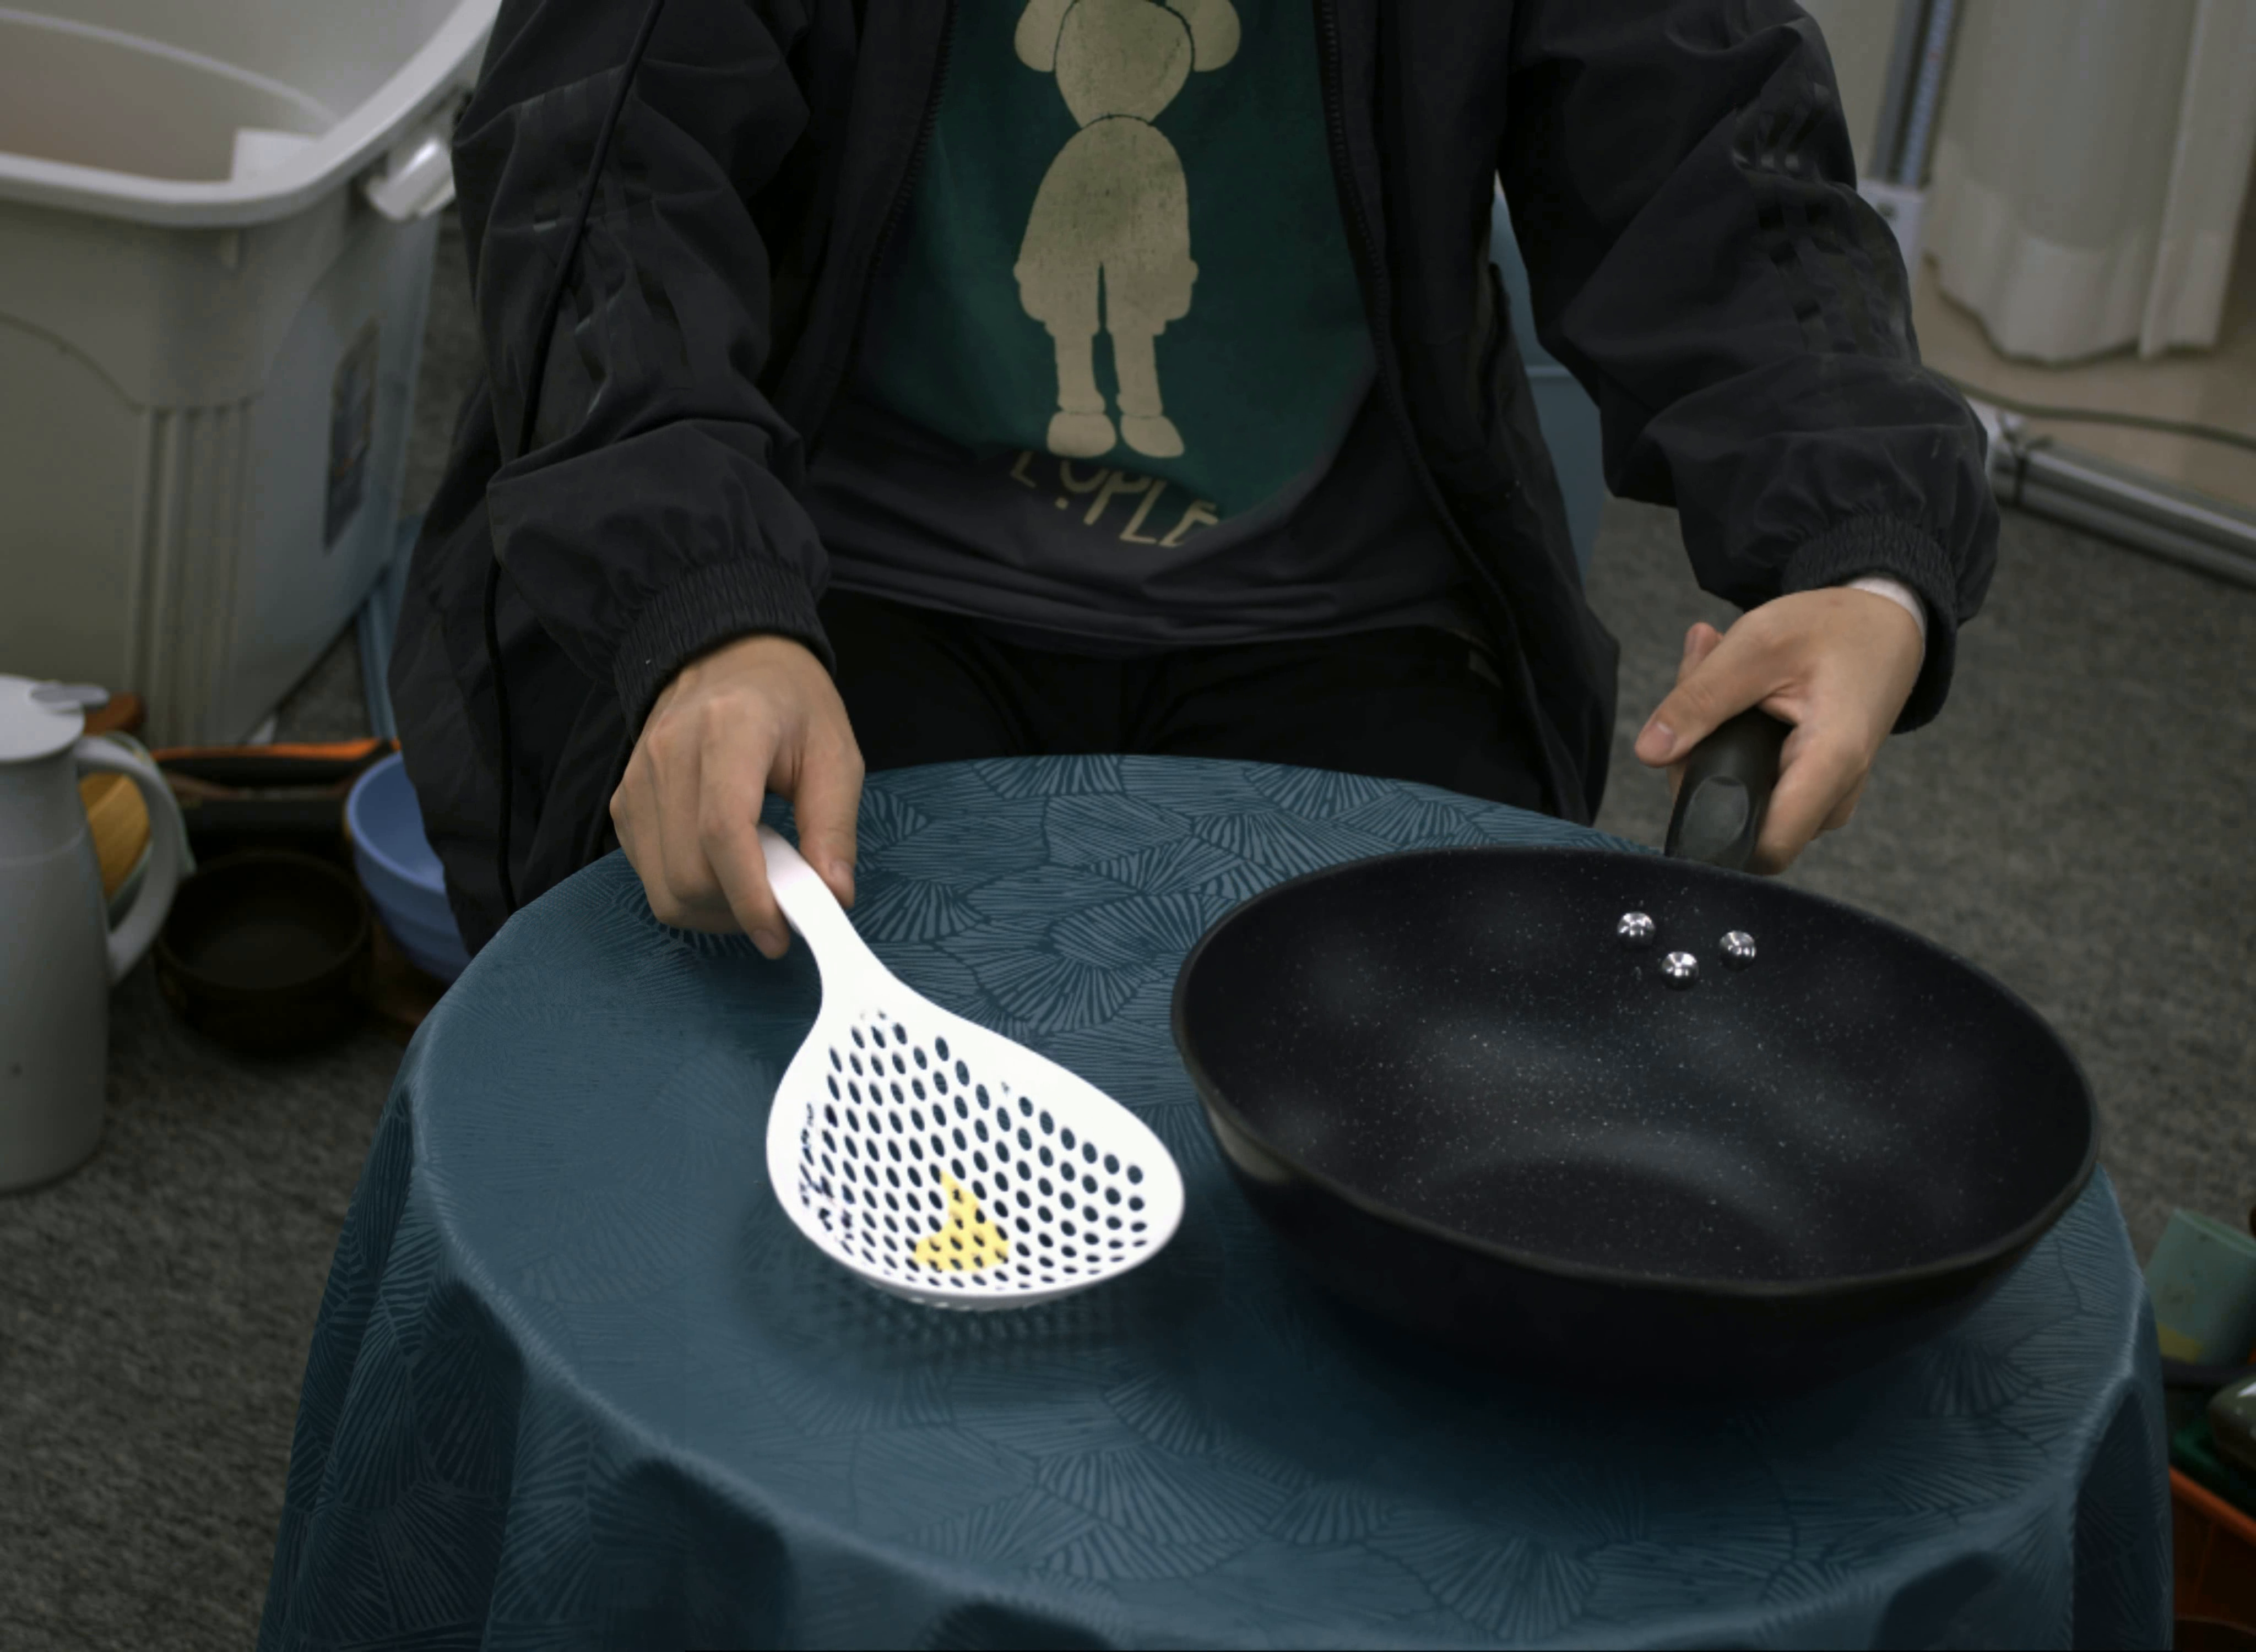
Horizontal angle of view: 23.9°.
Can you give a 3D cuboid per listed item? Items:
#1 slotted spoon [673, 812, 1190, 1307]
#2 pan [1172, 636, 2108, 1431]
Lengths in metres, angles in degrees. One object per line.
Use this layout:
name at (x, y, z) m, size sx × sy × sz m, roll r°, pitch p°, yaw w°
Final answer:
slotted spoon at (-0.090, 0.068, 1.826) m, size 0.136 × 0.050 × 0.351 m, roll -9°, pitch 35°, yaw -20°
pan at (0.184, 0.072, 1.833) m, size 0.310 × 0.111 × 0.478 m, roll 12°, pitch 26°, yaw 10°
